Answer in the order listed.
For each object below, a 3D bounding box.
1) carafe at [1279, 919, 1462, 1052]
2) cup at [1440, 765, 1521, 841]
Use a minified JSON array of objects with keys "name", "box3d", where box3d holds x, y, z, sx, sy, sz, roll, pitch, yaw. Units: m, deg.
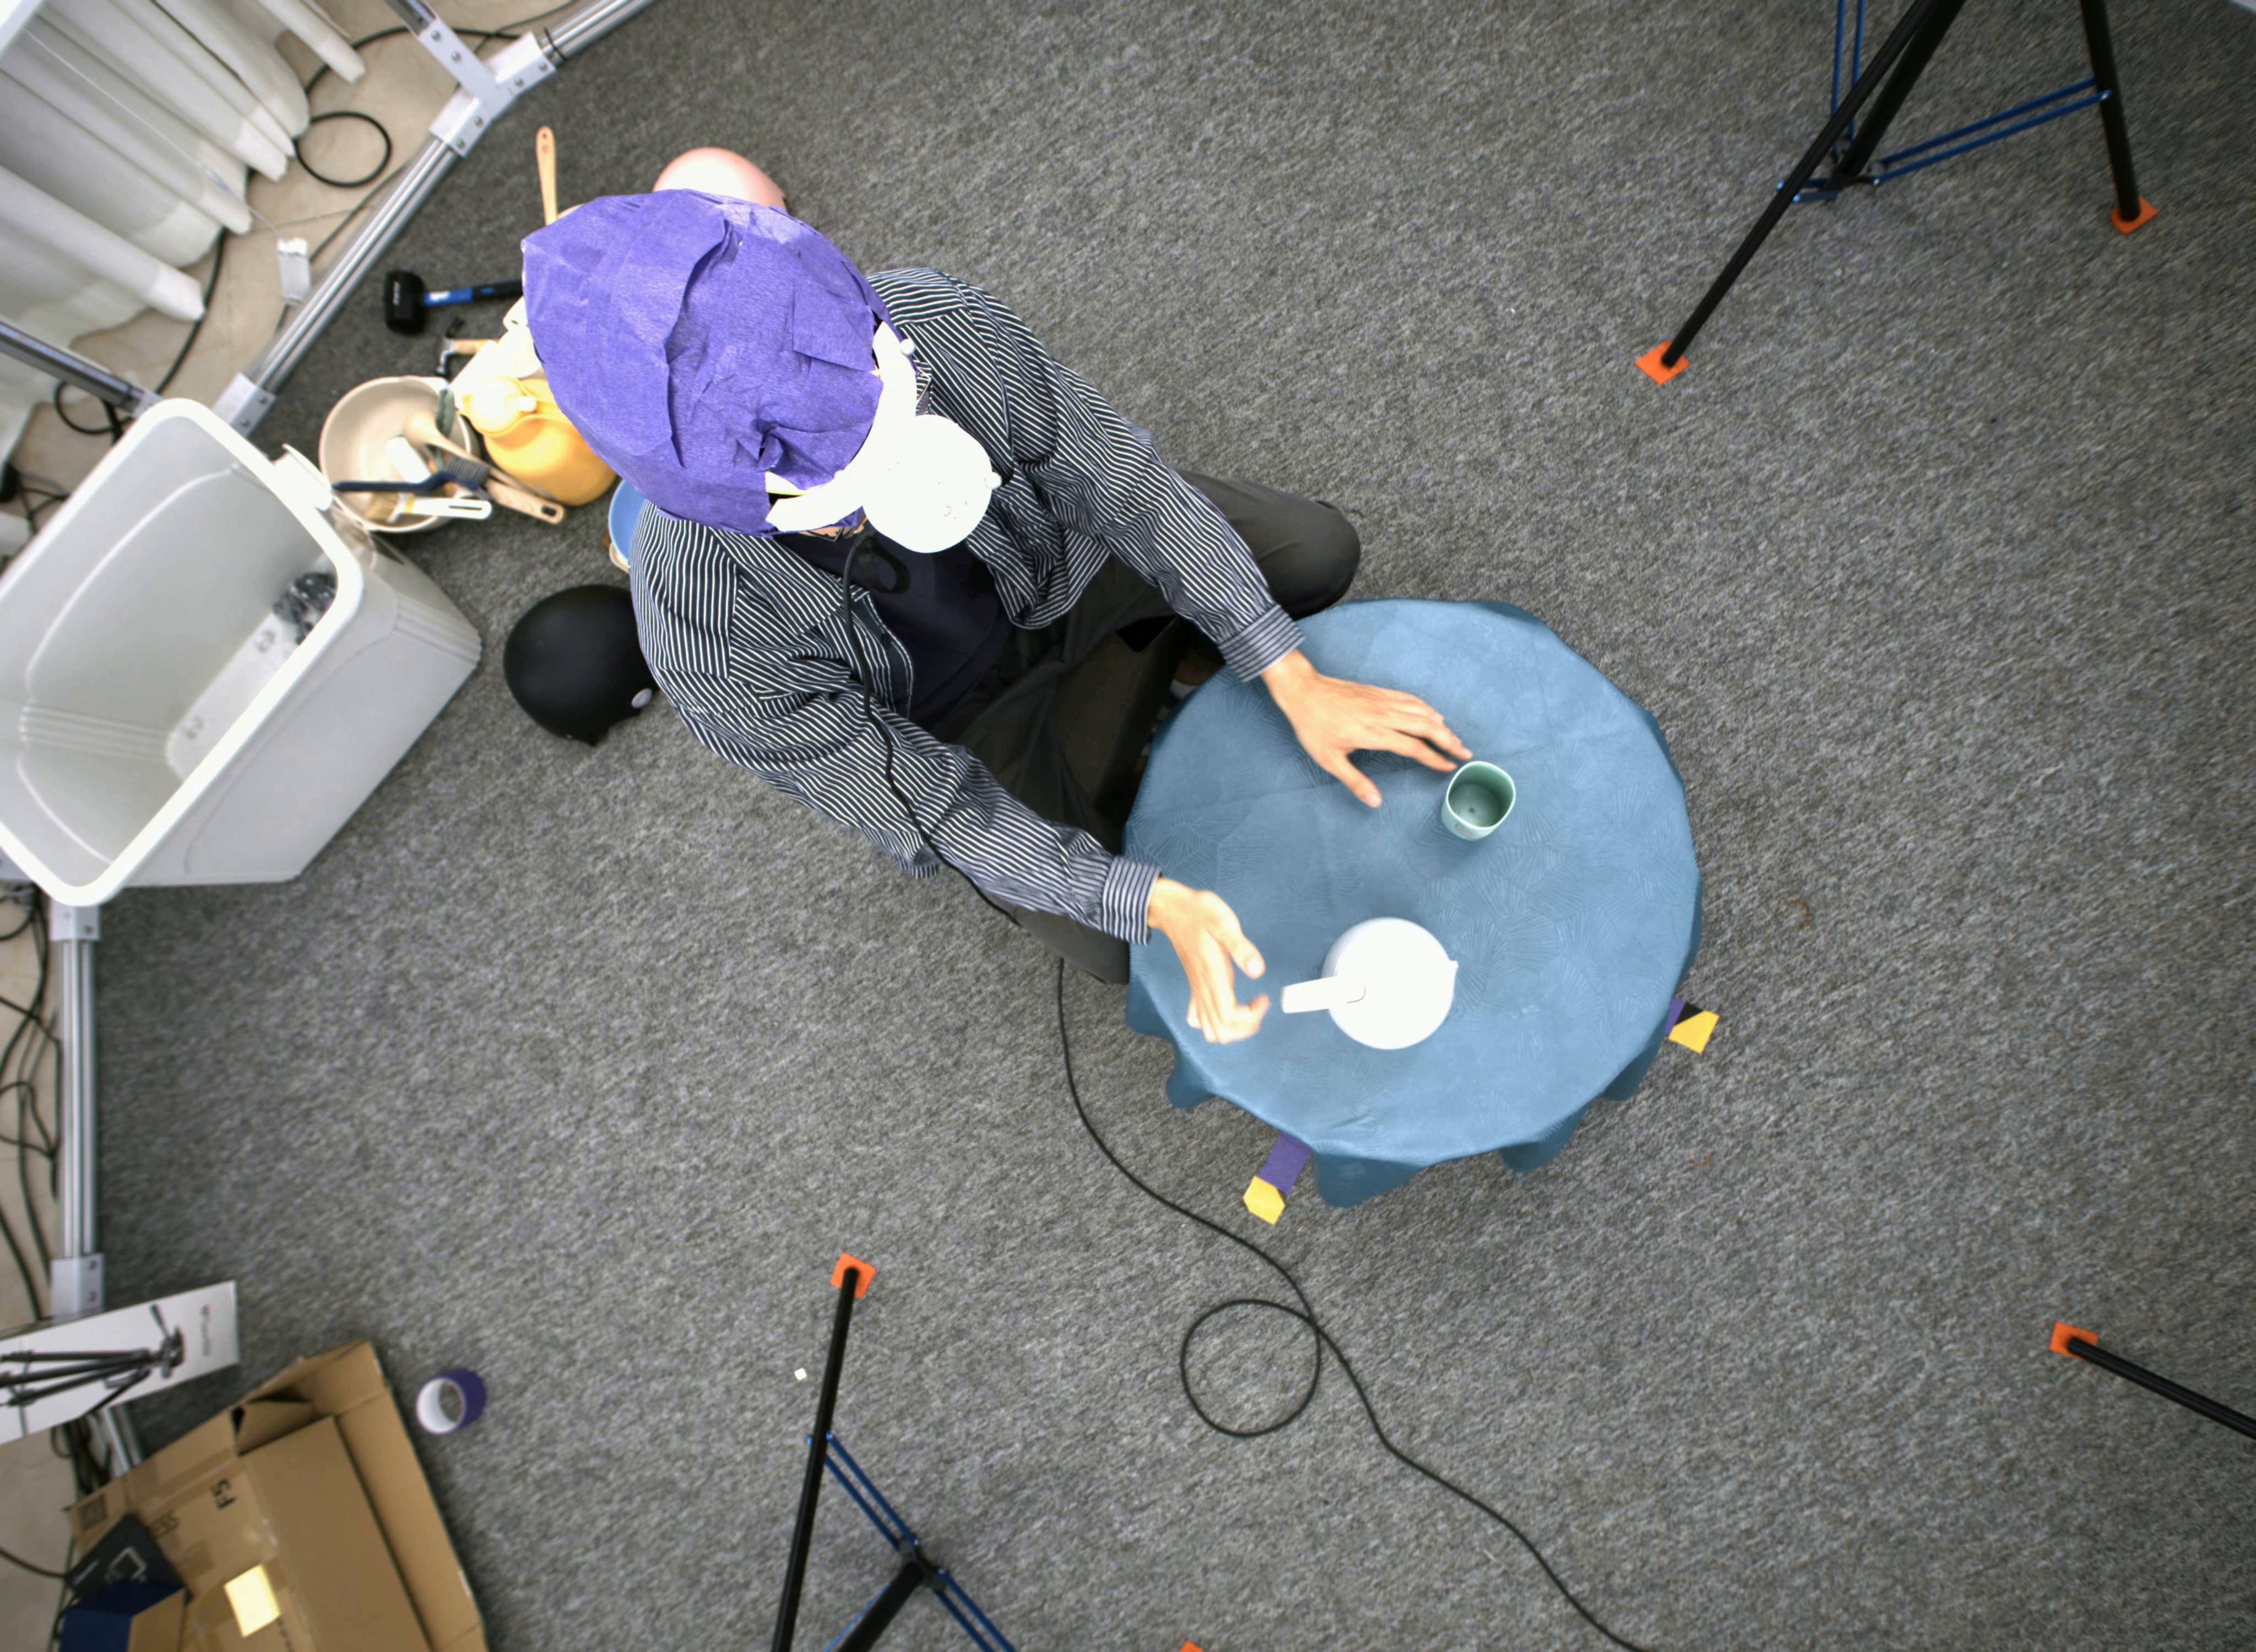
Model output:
[{"name":"carafe","box3d":[0.229,0.157,1.323,0.168,0.248,0.132,-13,84,9]},{"name":"cup","box3d":[0.349,-0.024,1.374,0.067,0.132,0.066,0,86,8]}]
